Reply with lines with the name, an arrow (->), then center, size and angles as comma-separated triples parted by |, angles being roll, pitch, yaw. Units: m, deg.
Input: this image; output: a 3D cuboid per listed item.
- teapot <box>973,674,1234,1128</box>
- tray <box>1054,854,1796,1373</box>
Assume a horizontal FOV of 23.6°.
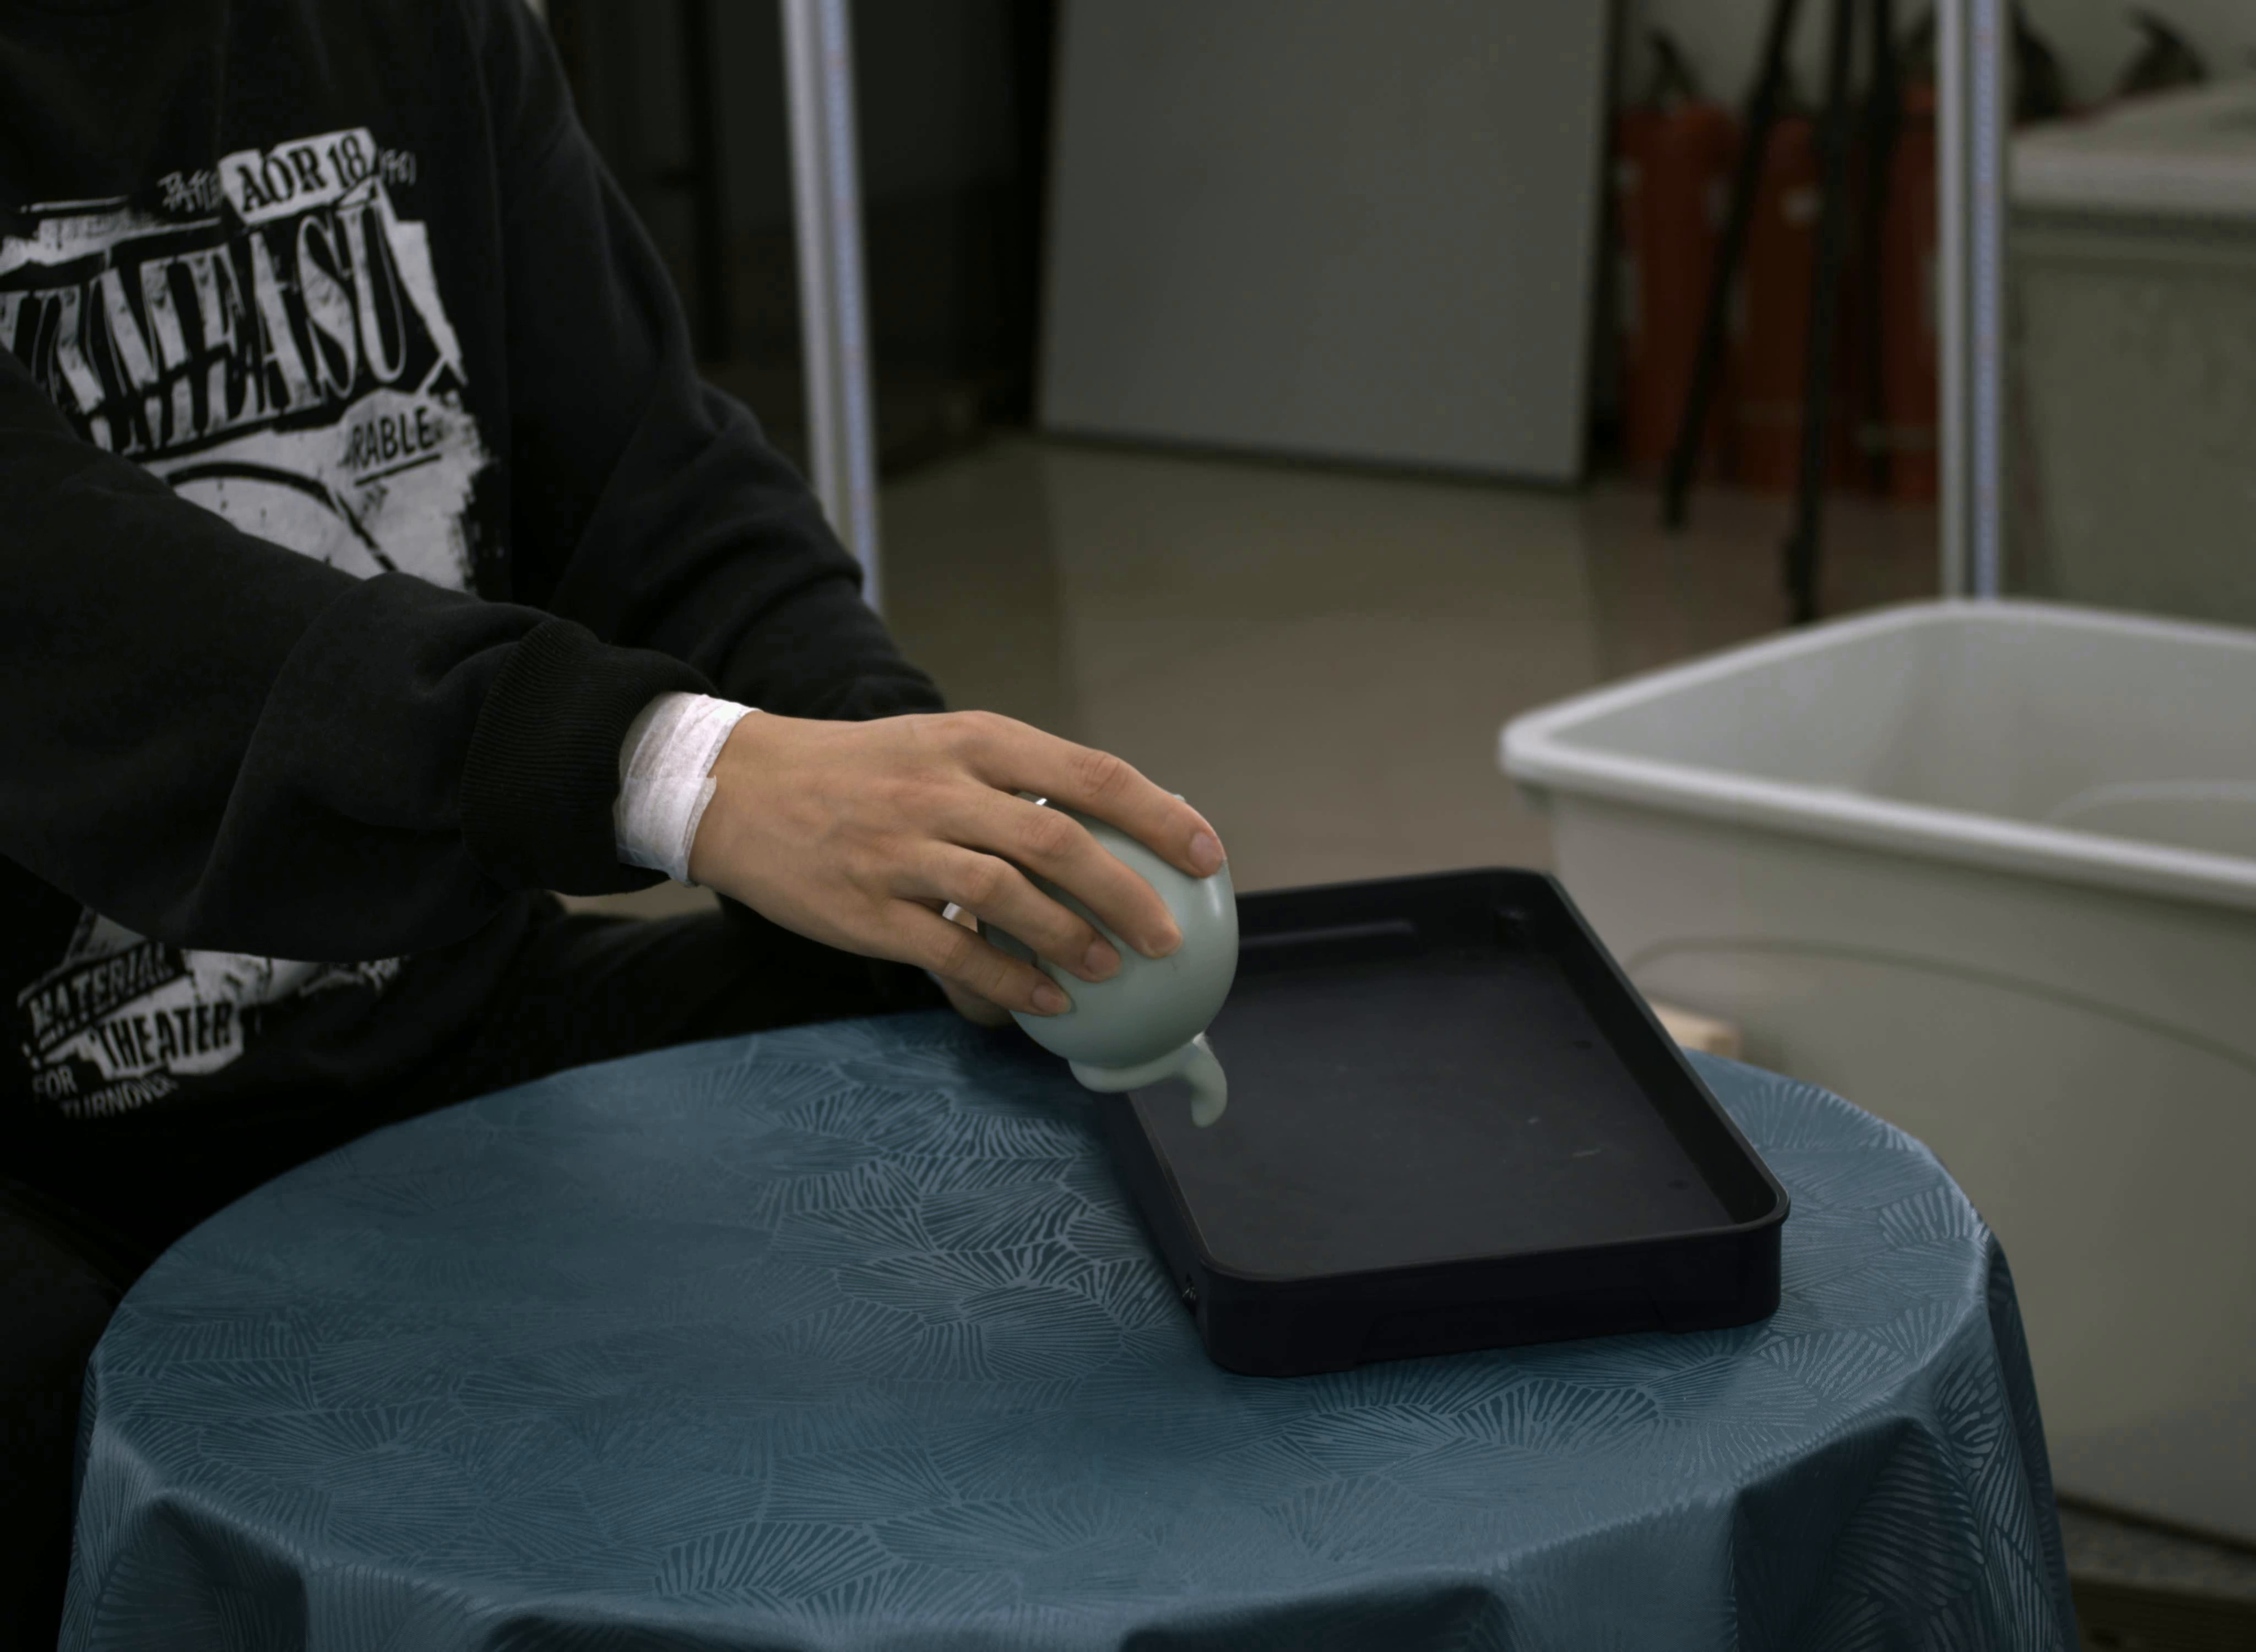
teapot -> -0.006, 0.027, 1.646 | 0.073, 0.145, 0.089 | -7, 13, -24
tray -> 0.085, 0.087, 1.743 | 0.181, 0.037, 0.320 | -8, 20, -10
